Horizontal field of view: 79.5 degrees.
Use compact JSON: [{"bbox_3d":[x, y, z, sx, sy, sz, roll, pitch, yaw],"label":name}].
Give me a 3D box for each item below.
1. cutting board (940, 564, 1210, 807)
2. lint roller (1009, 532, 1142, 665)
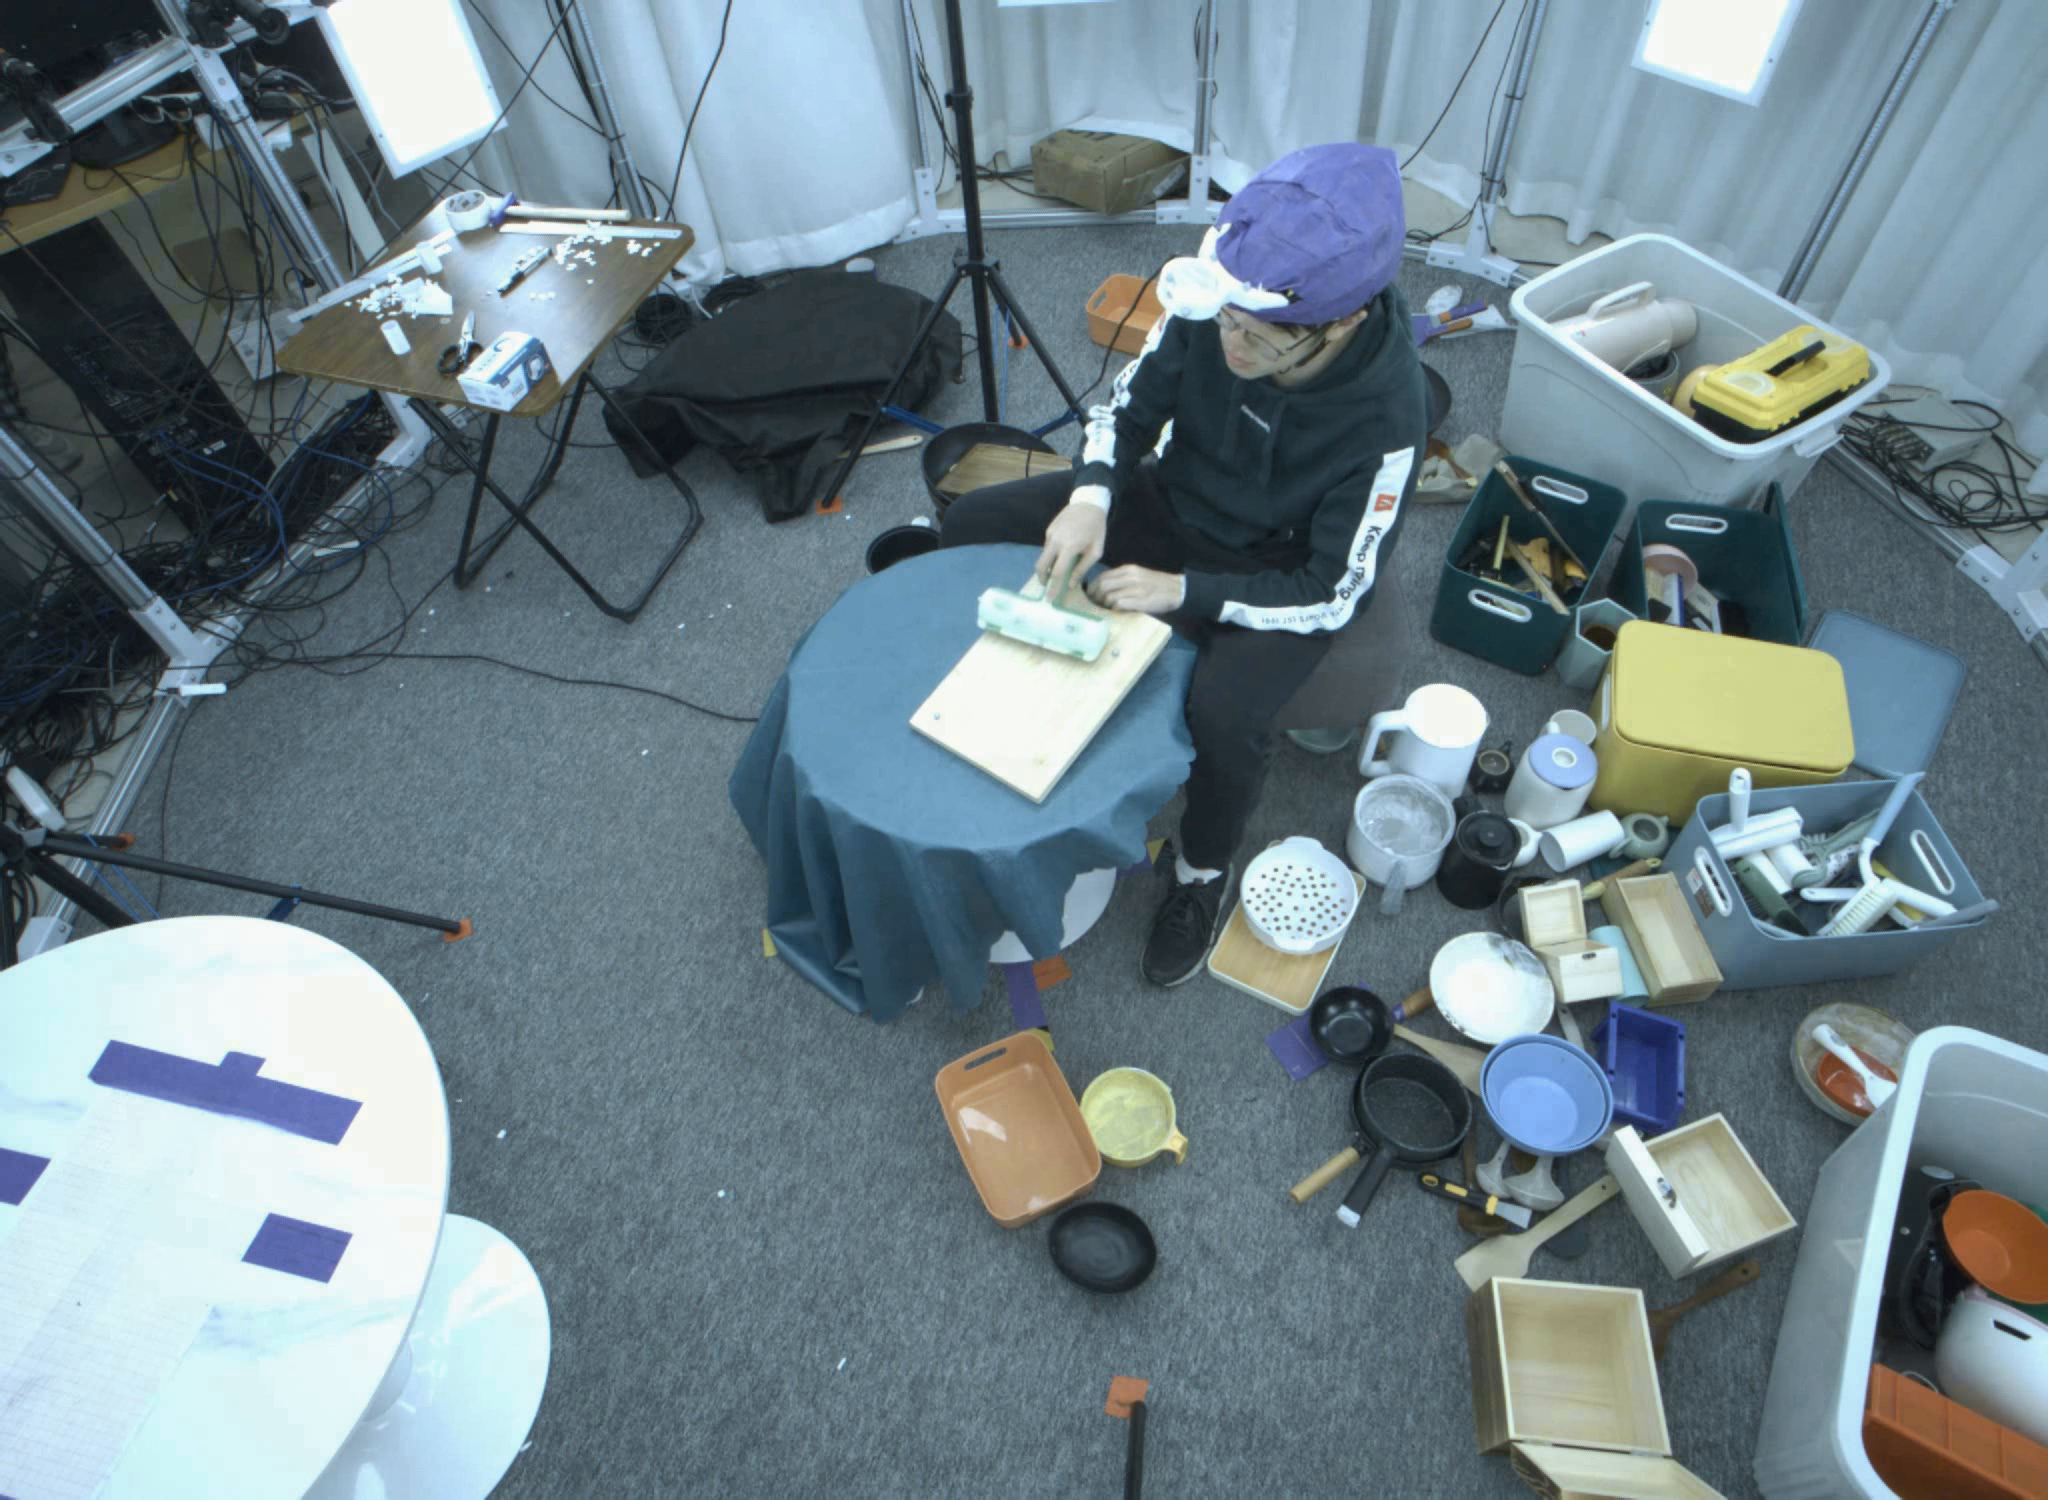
[{"bbox_3d":[0.074,-0.104,1.814,0.246,0.024,0.350,32,70,22],"label":"cutting board"},{"bbox_3d":[0.090,-0.238,1.803,0.196,0.083,0.183,21,97,18],"label":"lint roller"}]
